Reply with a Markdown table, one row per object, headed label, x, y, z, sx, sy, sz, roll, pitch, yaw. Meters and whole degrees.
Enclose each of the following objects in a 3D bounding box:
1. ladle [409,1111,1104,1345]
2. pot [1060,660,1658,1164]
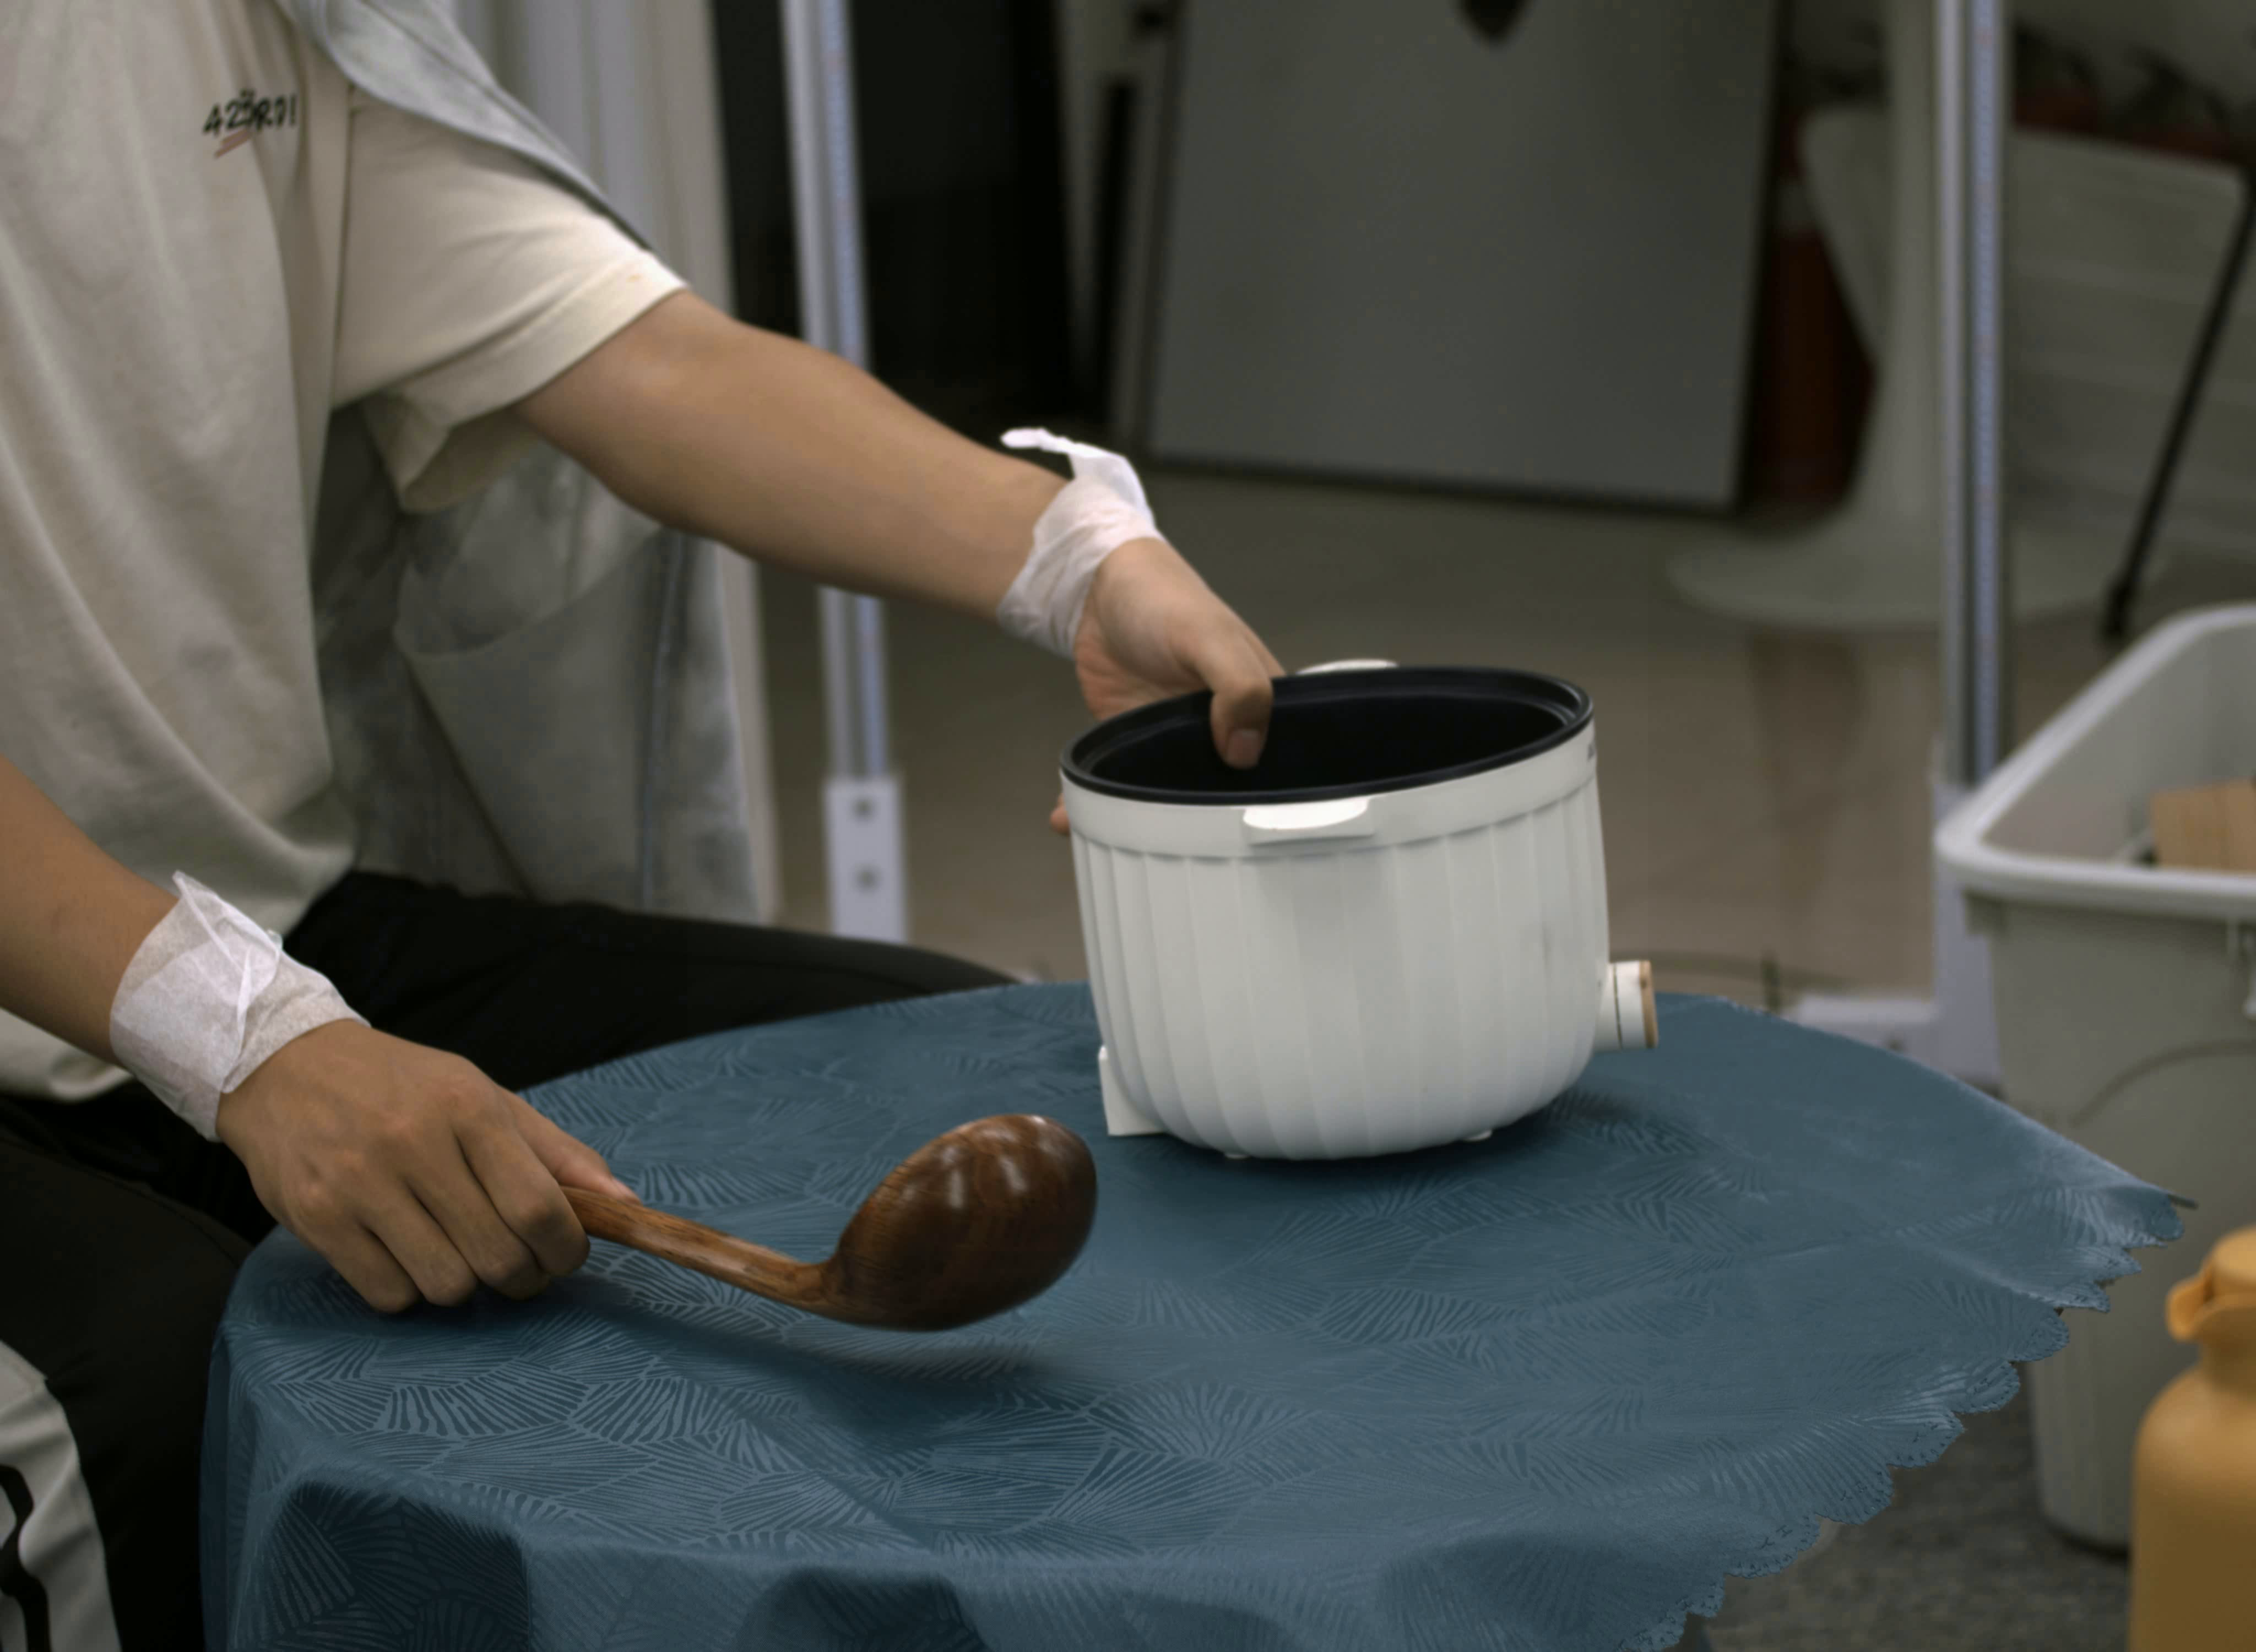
| label | x | y | z | sx | sy | sz | roll | pitch | yaw |
| --- | --- | --- | --- | --- | --- | --- | --- | --- | --- |
| ladle | -0.121 | 0.108 | 1.670 | 0.276 | 0.077 | 0.080 | 9 | -15 | 44 |
| pot | 0.079 | 0.030 | 1.820 | 0.189 | 0.144 | 0.240 | -8 | 14 | 8 |
